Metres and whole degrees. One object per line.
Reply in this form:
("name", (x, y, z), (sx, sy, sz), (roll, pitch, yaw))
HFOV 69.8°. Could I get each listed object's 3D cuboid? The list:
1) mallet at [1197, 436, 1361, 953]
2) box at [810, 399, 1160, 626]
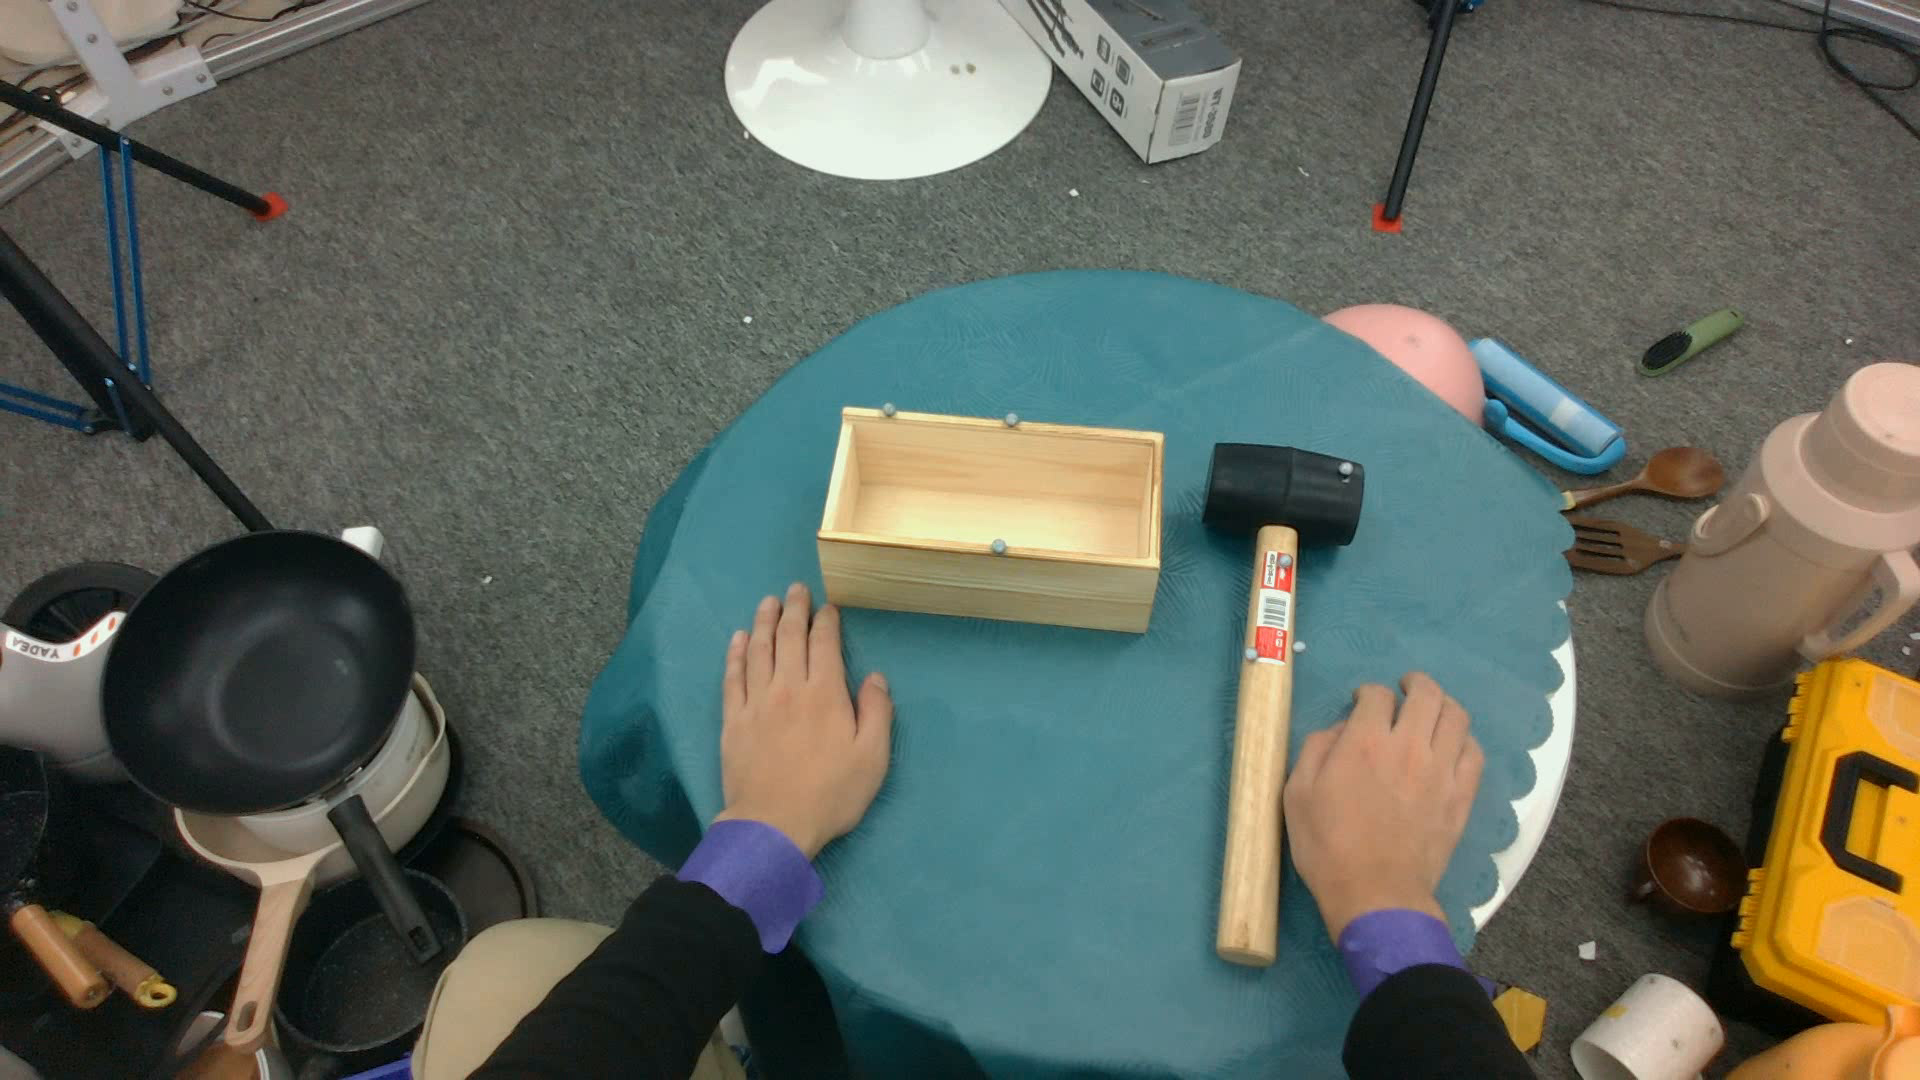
("mallet", (0.184, 0.077, 0.840), (0.102, 0.064, 0.340), (8, 57, 9))
("box", (0.019, -0.018, 0.893), (0.211, 0.080, 0.108), (5, 57, 4))
